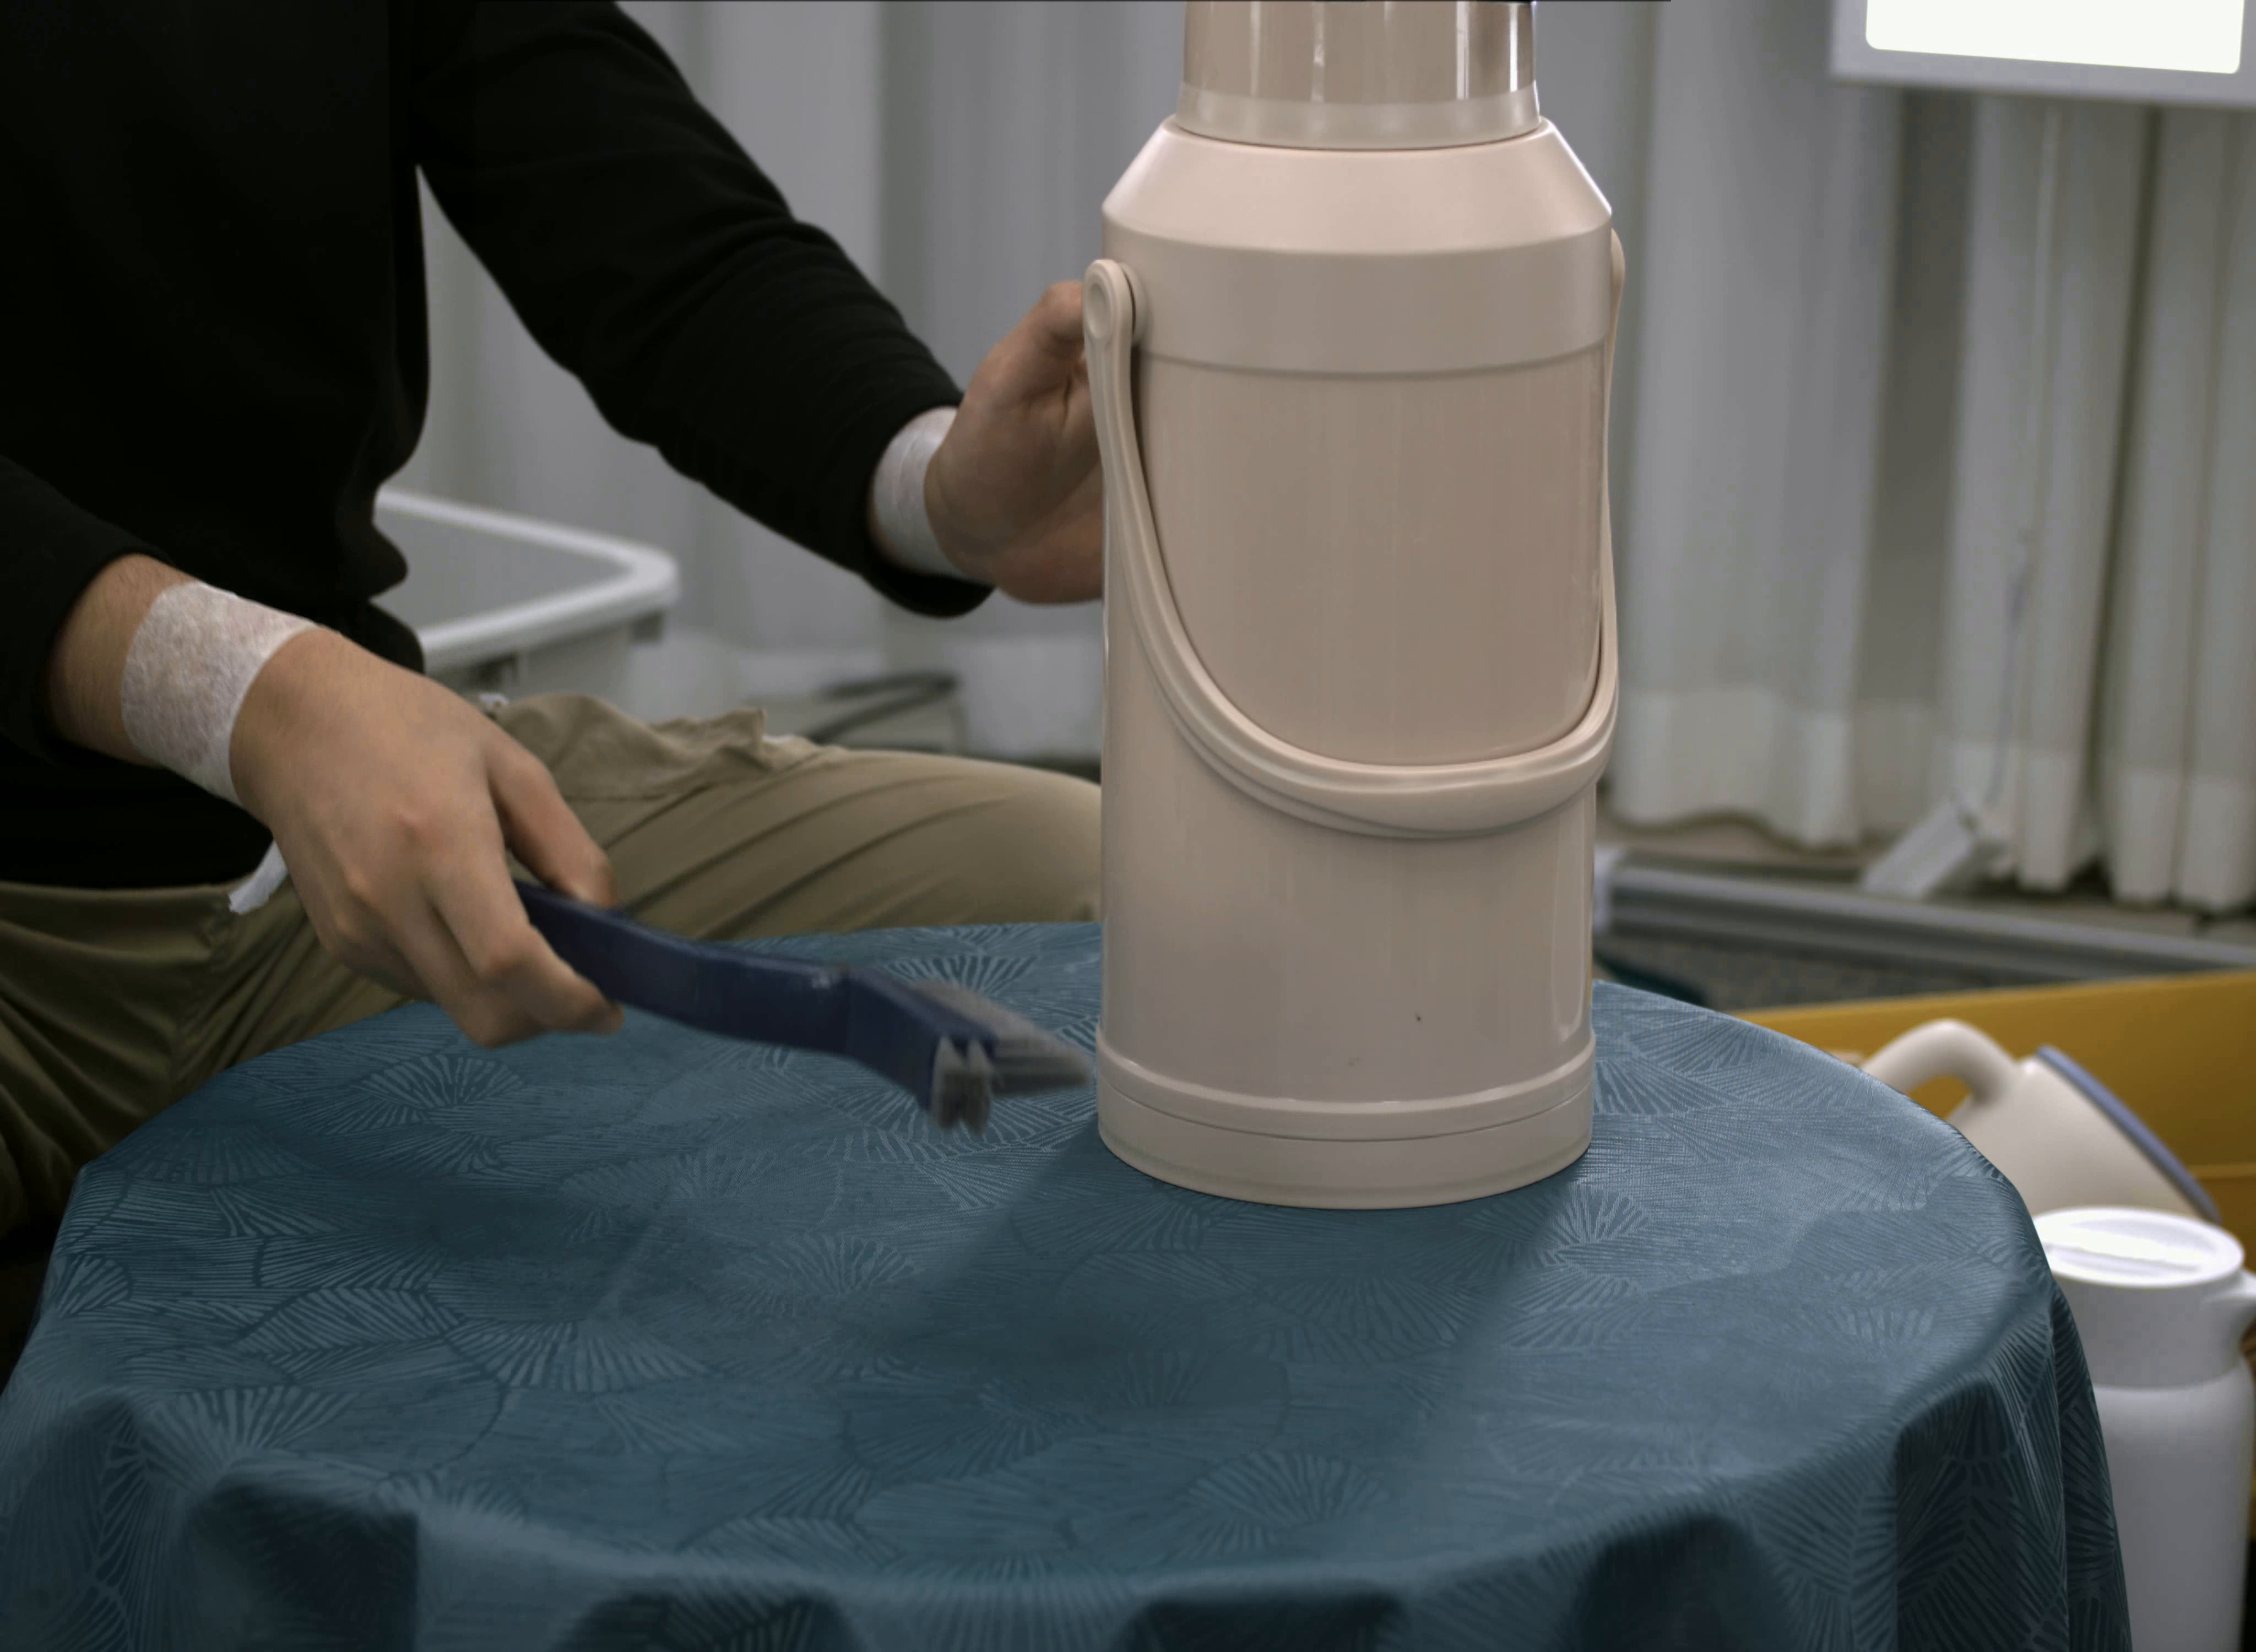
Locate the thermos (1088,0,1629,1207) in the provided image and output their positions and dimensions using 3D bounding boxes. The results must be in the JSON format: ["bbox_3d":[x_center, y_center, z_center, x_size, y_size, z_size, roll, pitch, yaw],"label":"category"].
[{"bbox_3d":[0.066,-0.099,1.639,0.176,0.410,0.204,-9,19,-25],"label":"thermos"}]

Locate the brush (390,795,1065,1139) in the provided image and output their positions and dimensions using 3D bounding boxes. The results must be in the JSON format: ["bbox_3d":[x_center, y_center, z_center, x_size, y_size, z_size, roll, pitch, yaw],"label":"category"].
[{"bbox_3d":[-0.134,0.038,1.516,0.269,0.034,0.096,14,16,33],"label":"brush"}]
